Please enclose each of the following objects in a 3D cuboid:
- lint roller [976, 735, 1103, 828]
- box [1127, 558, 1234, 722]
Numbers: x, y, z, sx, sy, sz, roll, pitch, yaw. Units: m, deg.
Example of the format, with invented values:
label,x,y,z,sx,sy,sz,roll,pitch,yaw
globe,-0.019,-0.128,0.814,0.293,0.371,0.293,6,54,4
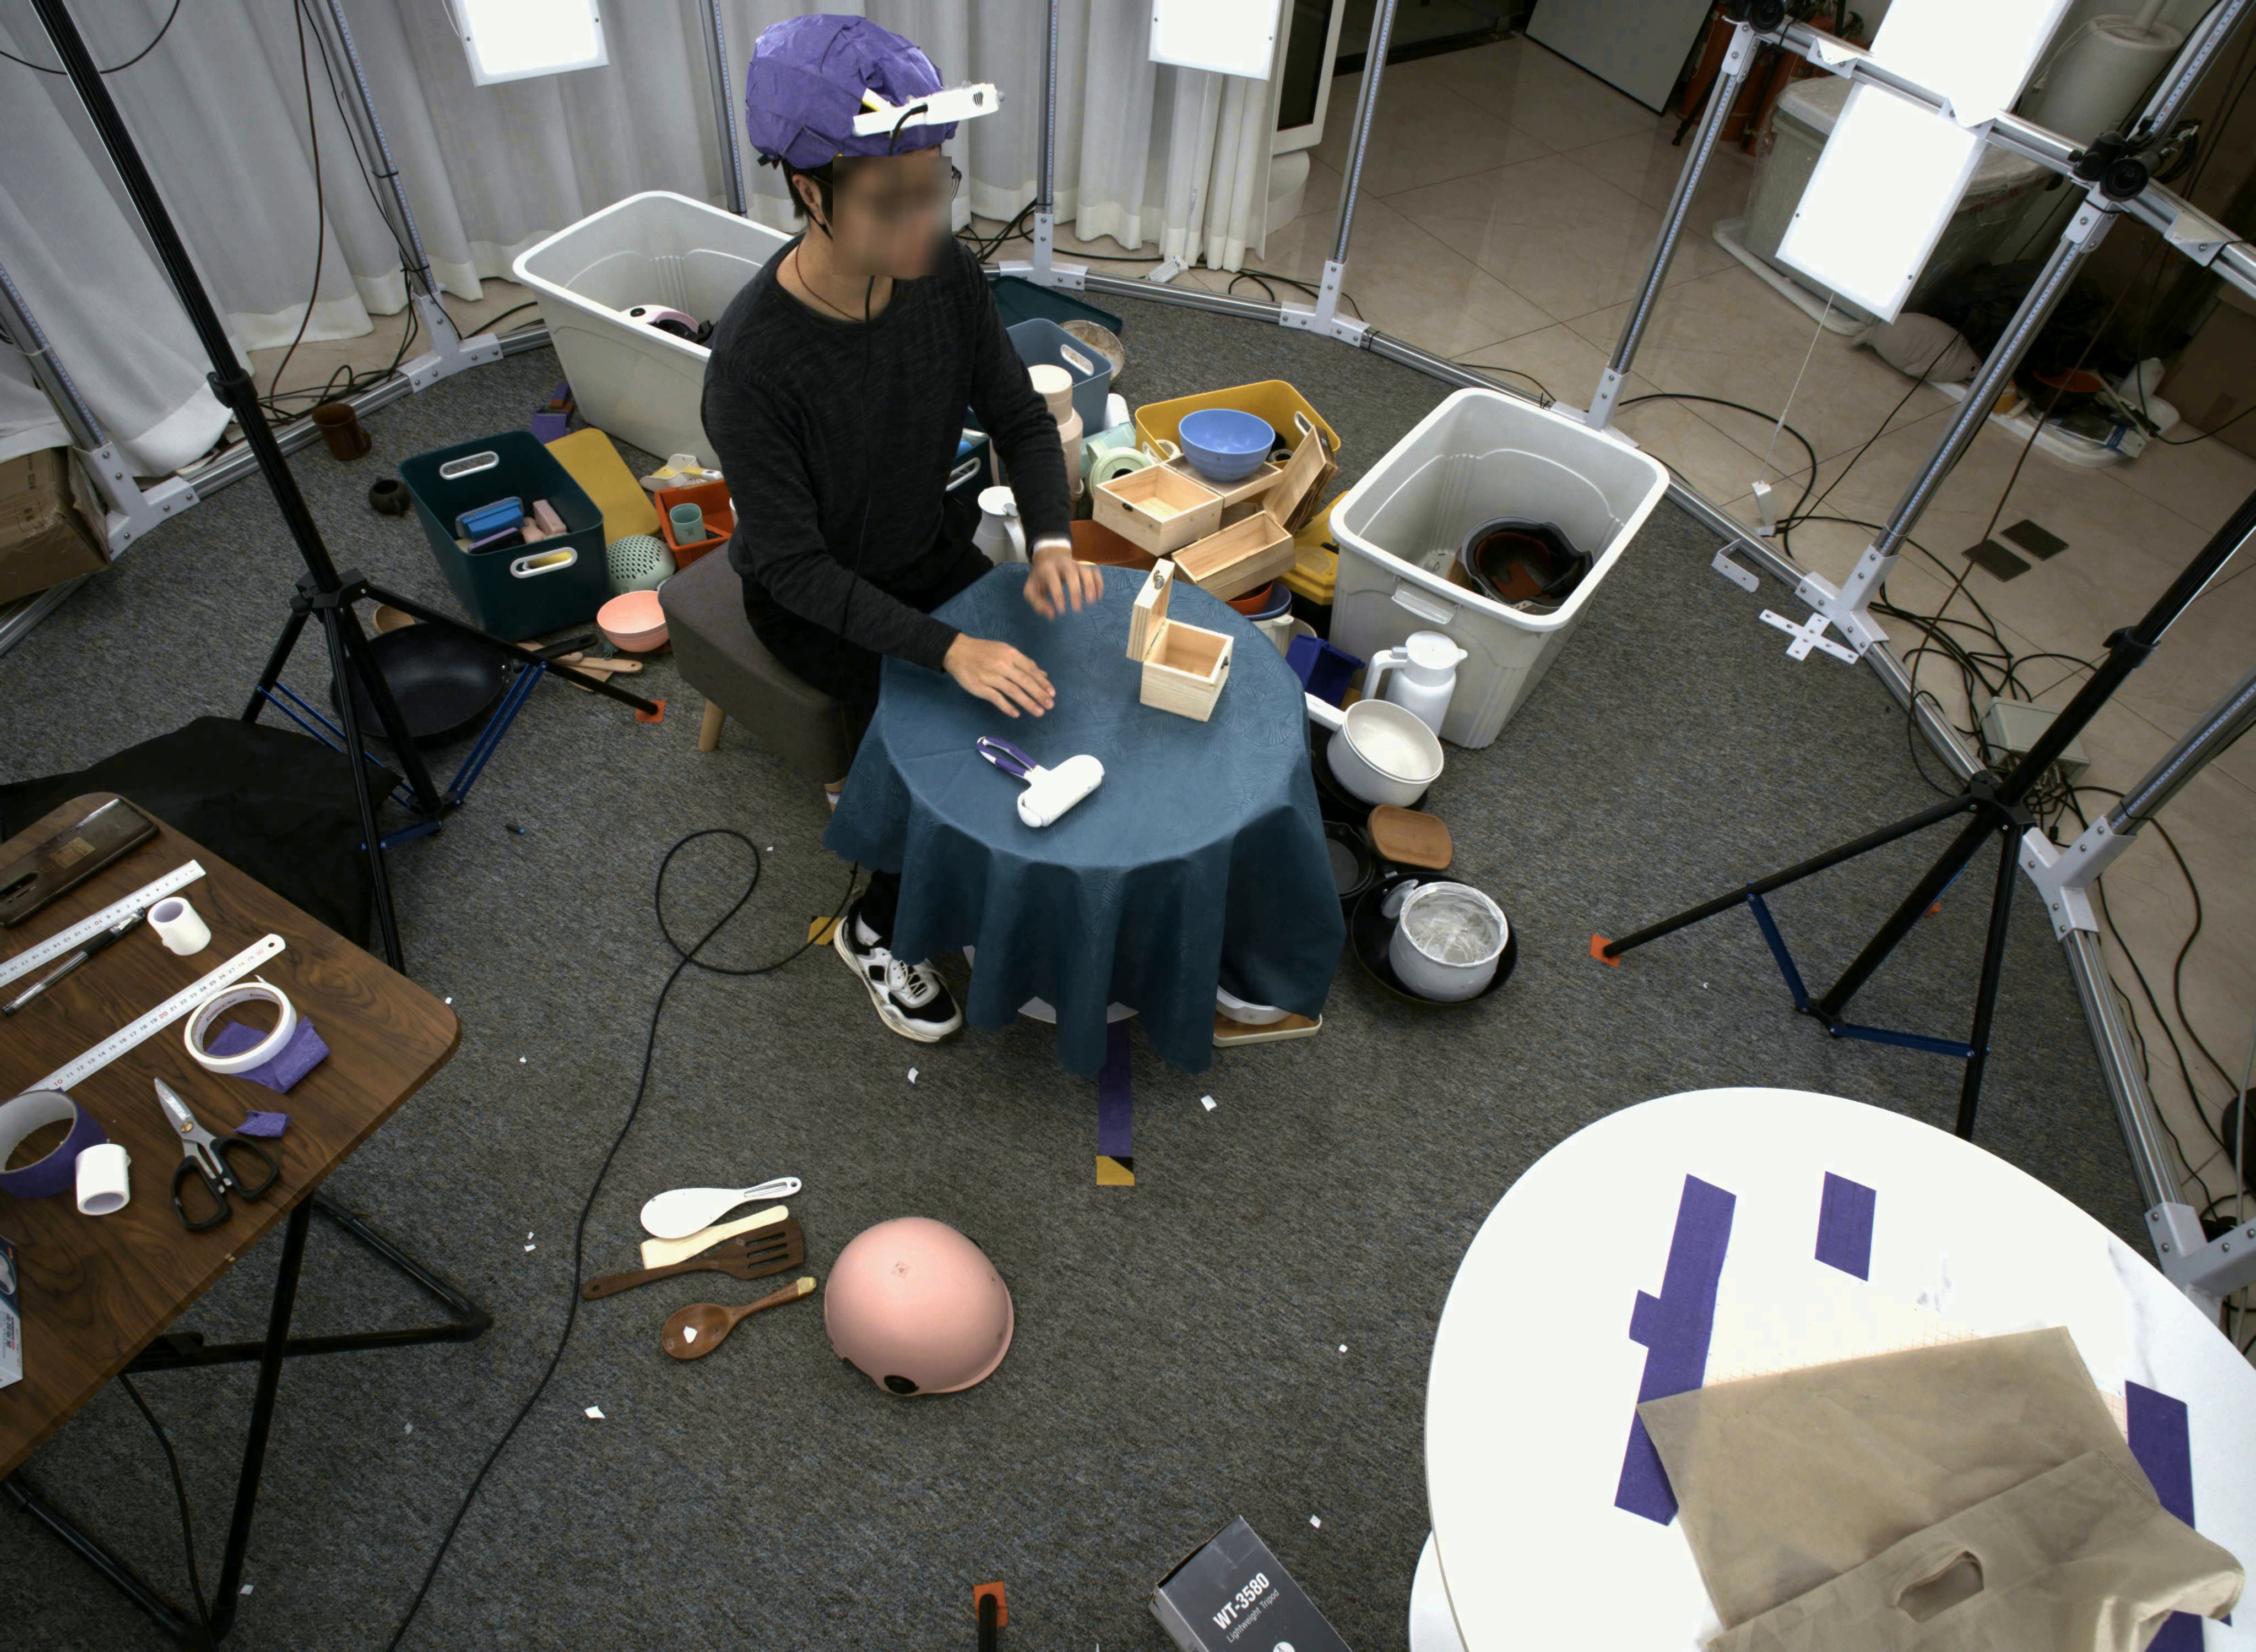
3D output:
label,x,y,z,sx,sy,sz,roll,pitch,yaw
lint roller,-0.133,-0.082,1.701,0.183,0.049,0.134,39,58,23
box,0.078,-0.257,1.780,0.134,0.180,0.104,17,50,11
